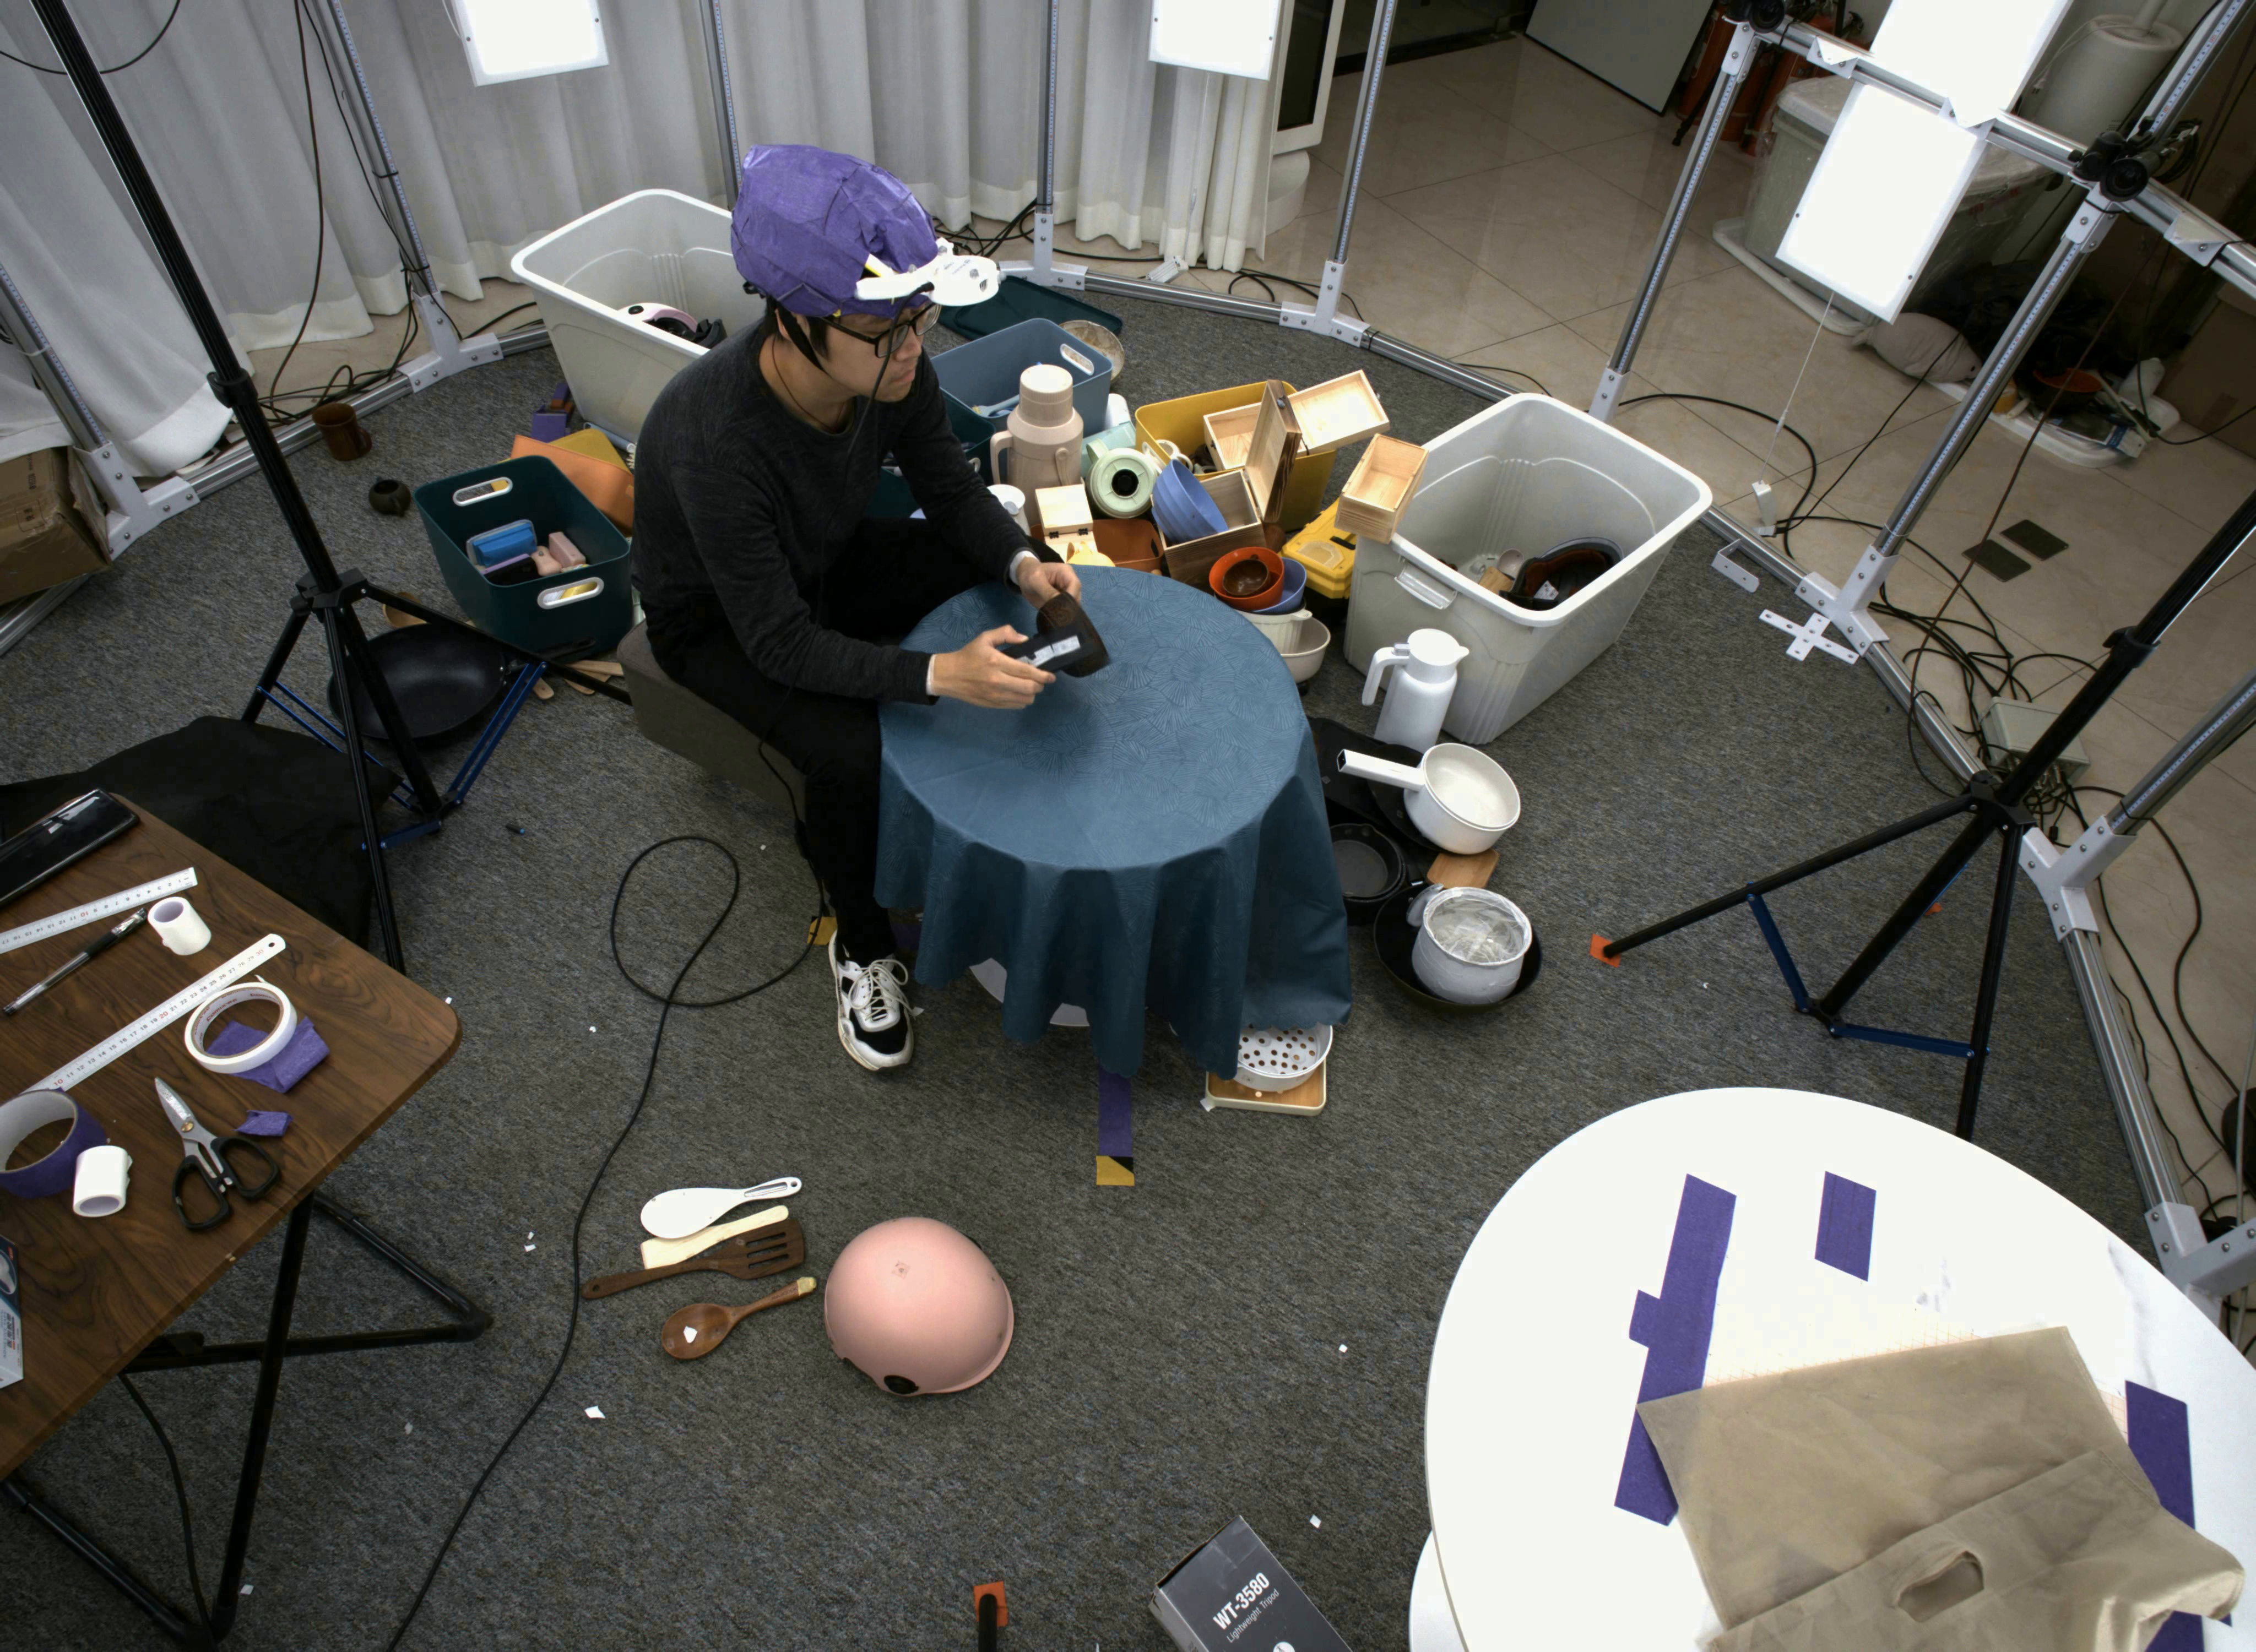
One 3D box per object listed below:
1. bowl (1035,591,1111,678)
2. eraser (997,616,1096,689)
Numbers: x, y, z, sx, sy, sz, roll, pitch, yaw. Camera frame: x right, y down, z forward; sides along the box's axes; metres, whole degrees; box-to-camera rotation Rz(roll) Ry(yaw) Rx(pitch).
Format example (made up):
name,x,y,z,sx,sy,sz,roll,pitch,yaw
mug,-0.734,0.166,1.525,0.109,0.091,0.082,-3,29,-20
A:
name,x,y,z,sx,sy,sz,roll,pitch,yaw
bowl,-0.083,-0.253,1.747,0.070,0.115,0.120,-34,58,-7
eraser,-0.107,-0.228,1.687,0.125,0.030,0.053,-21,90,16
